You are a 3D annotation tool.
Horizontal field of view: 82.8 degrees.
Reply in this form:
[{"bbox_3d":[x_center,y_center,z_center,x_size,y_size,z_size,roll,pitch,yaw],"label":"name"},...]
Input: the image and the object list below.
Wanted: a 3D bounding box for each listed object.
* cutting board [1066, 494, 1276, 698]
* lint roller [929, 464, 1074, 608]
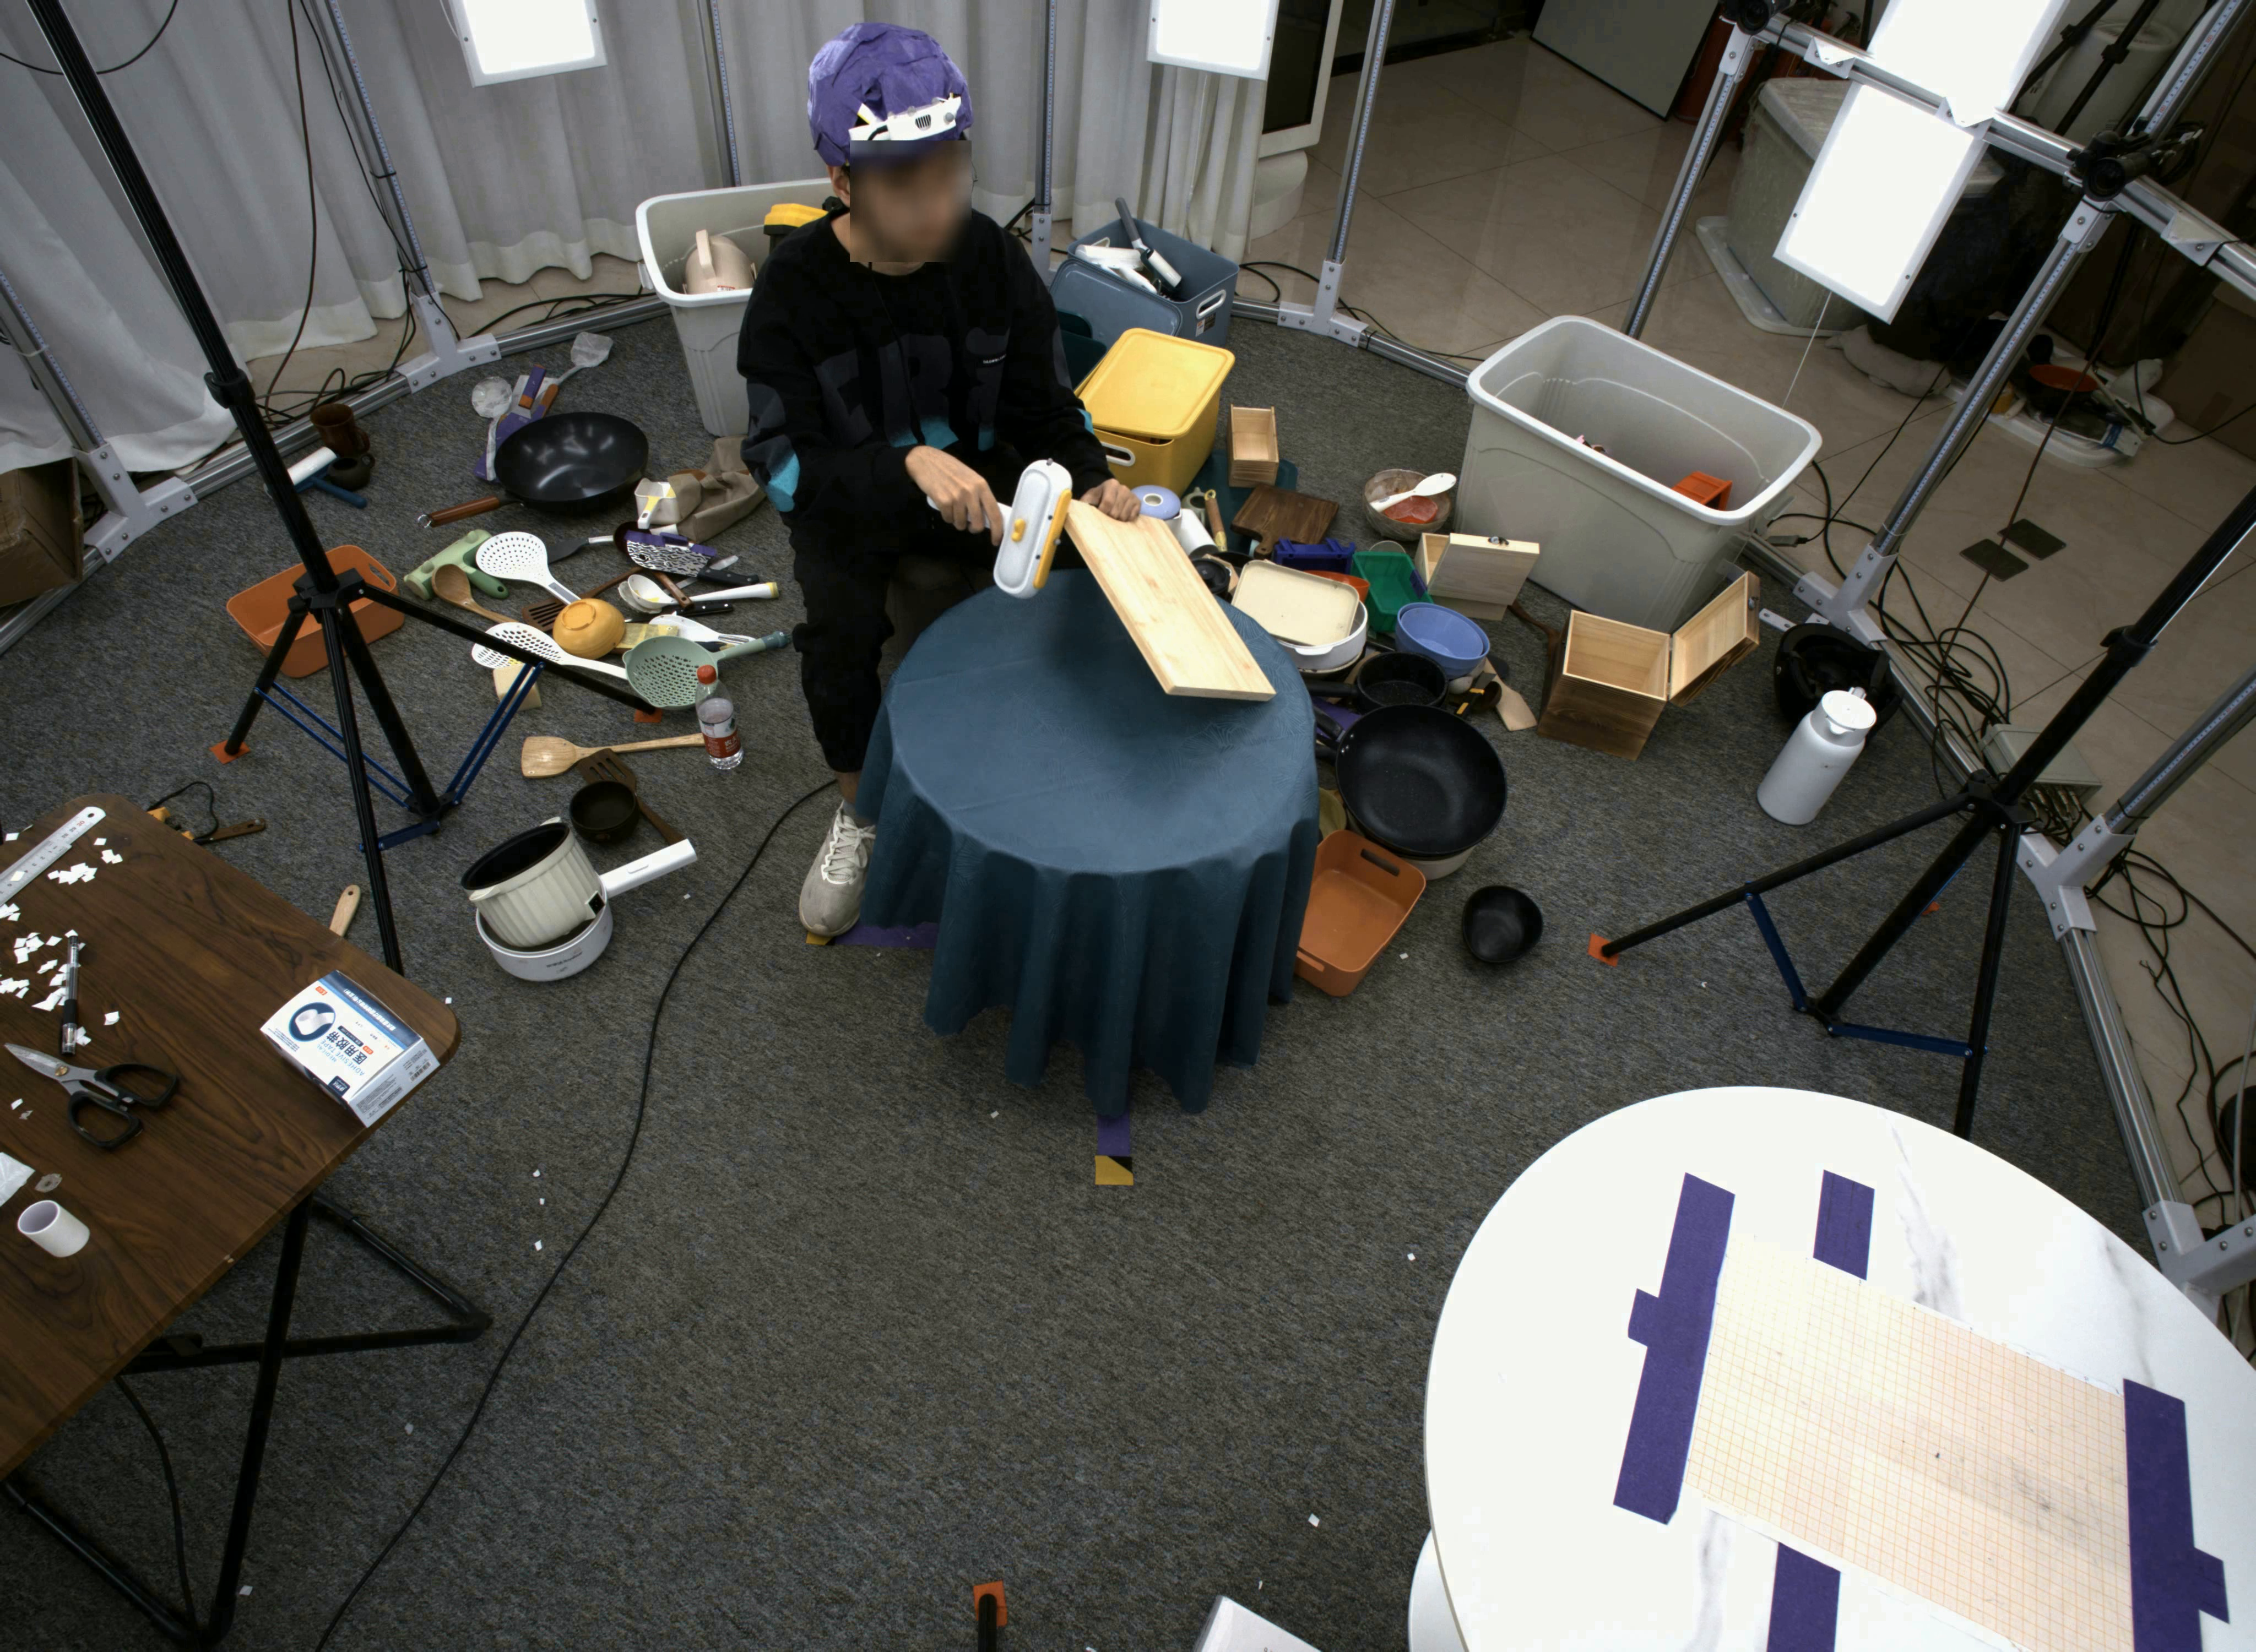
[{"bbox_3d":[0.049,-0.322,1.812,0.249,0.023,0.354,-2,55,-50],"label":"cutting board"},{"bbox_3d":[-0.177,-0.408,1.775,0.193,0.190,0.074,15,17,18],"label":"lint roller"}]
